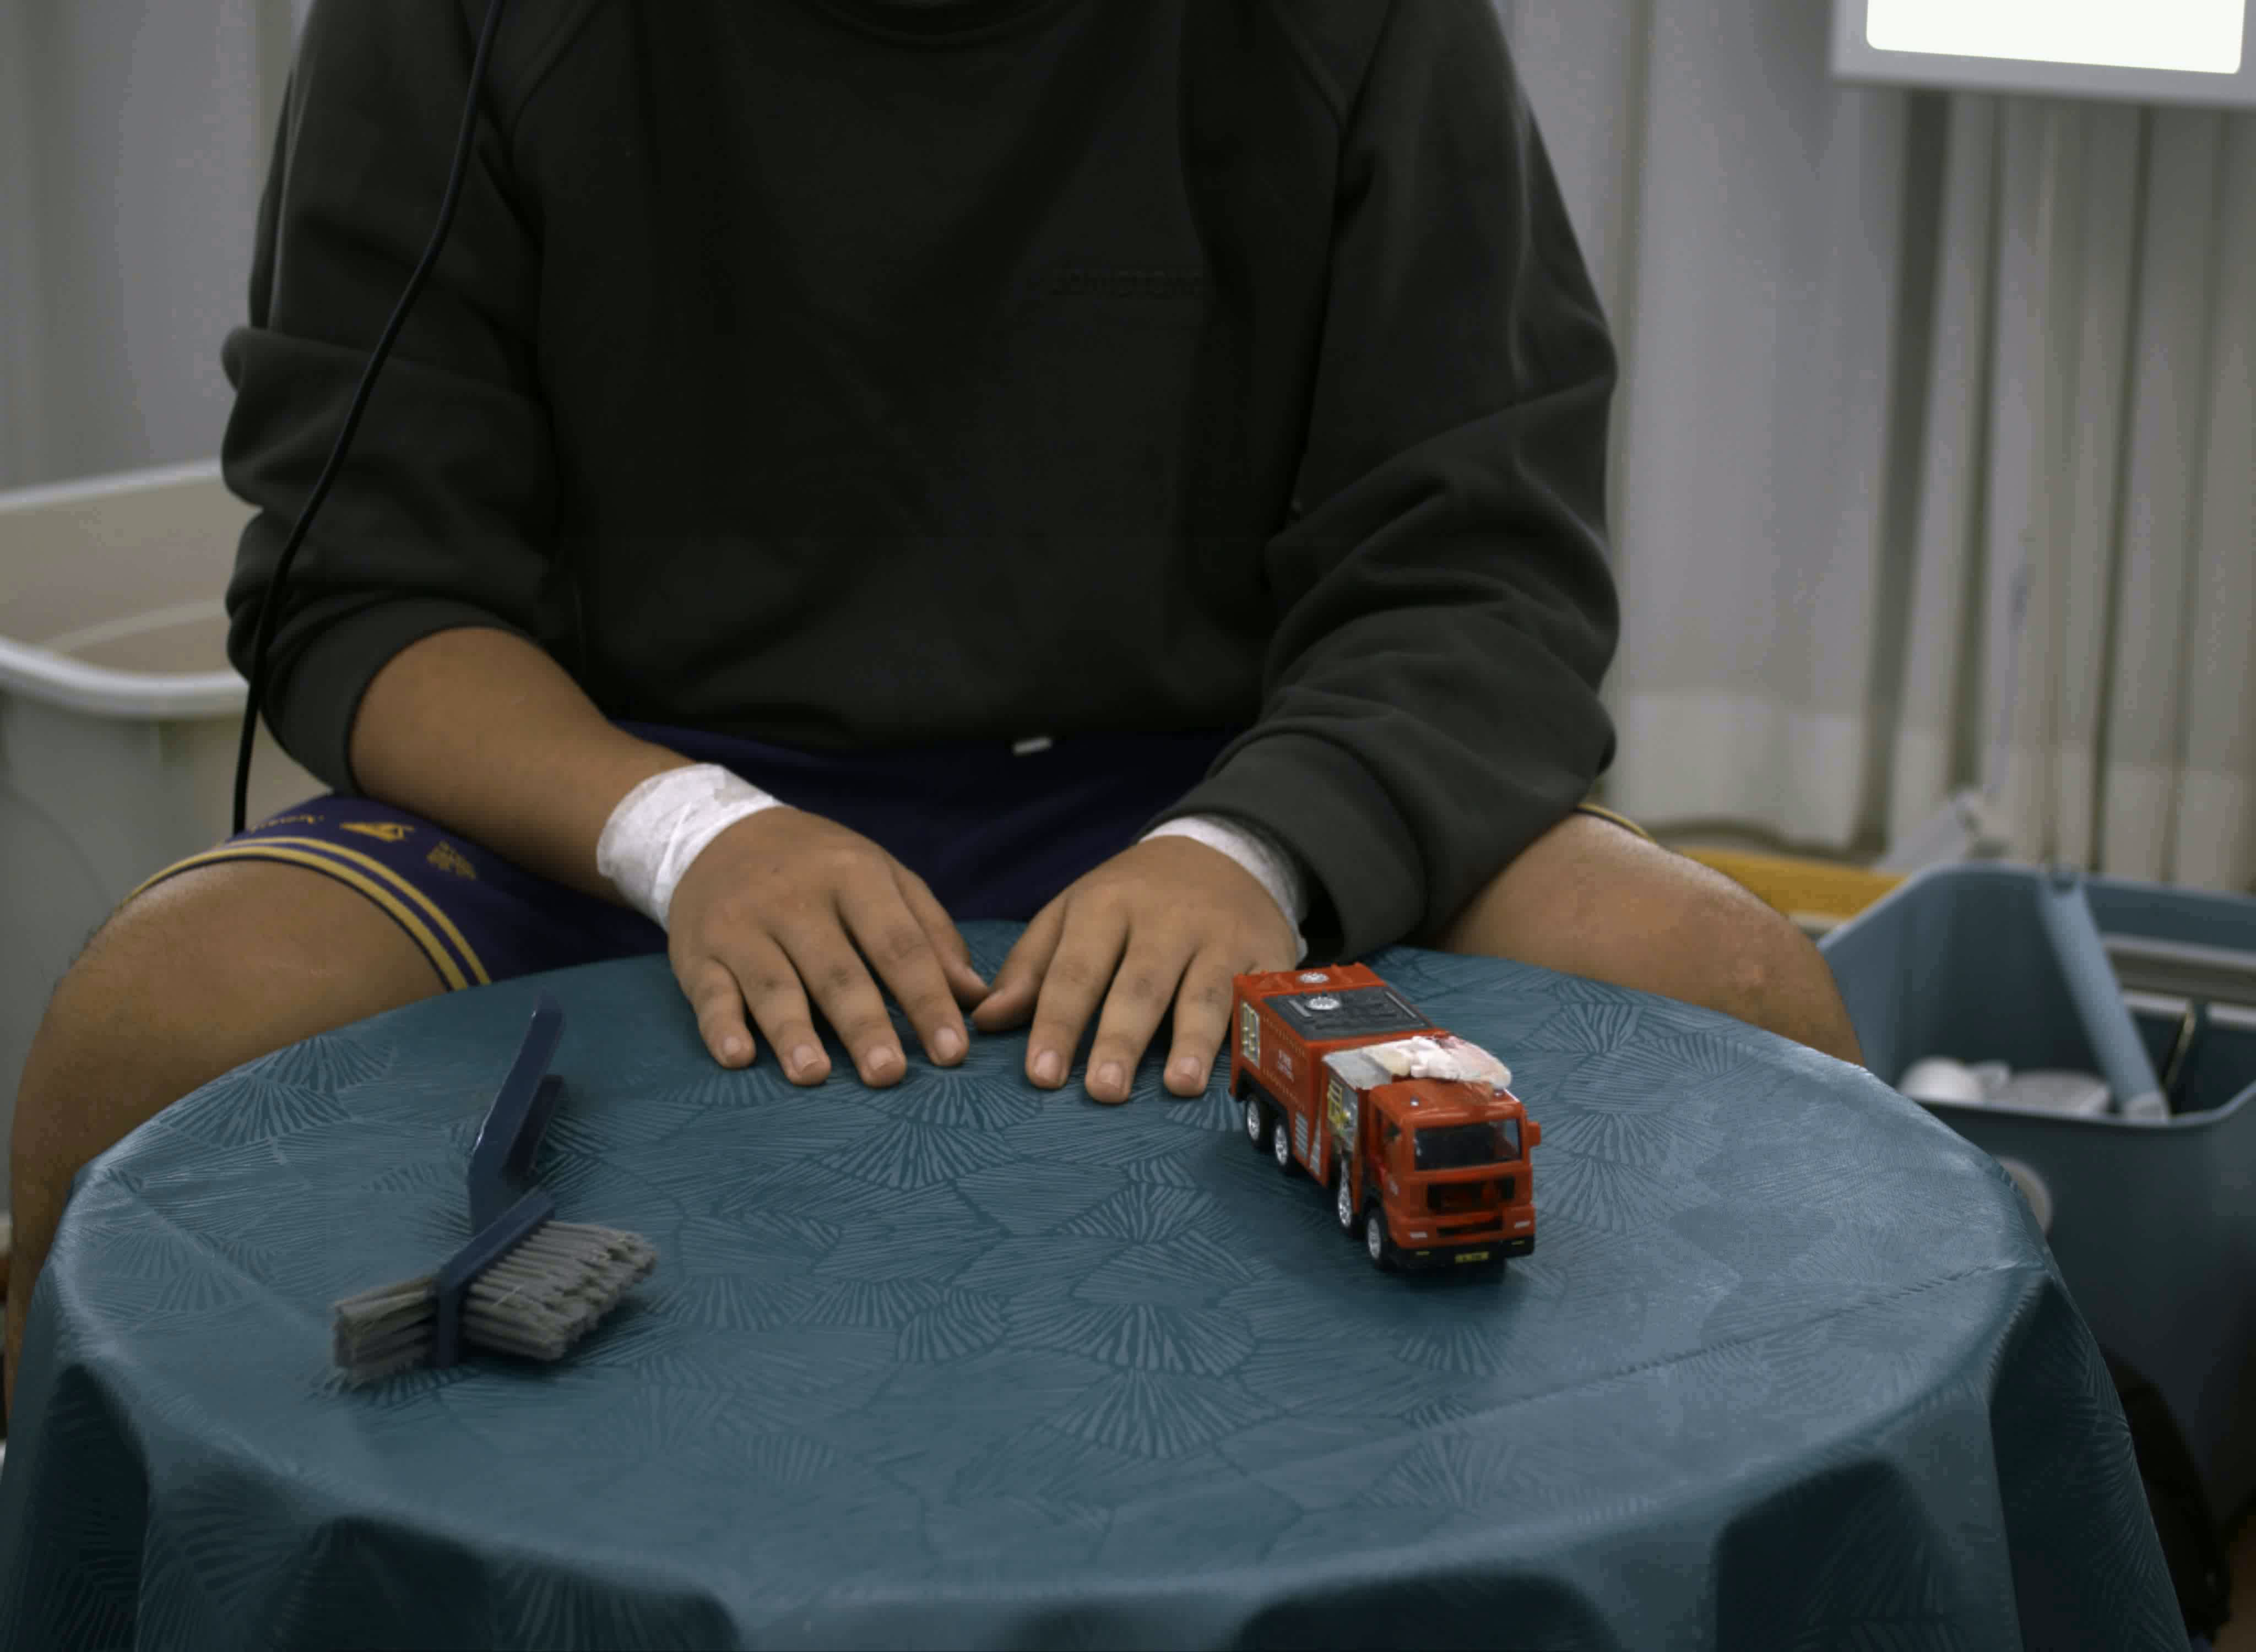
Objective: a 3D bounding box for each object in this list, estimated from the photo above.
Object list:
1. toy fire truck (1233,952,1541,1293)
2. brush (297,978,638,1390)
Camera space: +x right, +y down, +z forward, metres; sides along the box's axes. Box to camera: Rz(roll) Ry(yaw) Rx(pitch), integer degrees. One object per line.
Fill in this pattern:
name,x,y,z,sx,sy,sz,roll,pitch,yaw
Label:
toy fire truck,0.078,0.087,1.606,0.054,0.071,0.166,-5,16,-17
brush,-0.197,0.104,1.587,0.095,0.034,0.271,-2,16,-6
